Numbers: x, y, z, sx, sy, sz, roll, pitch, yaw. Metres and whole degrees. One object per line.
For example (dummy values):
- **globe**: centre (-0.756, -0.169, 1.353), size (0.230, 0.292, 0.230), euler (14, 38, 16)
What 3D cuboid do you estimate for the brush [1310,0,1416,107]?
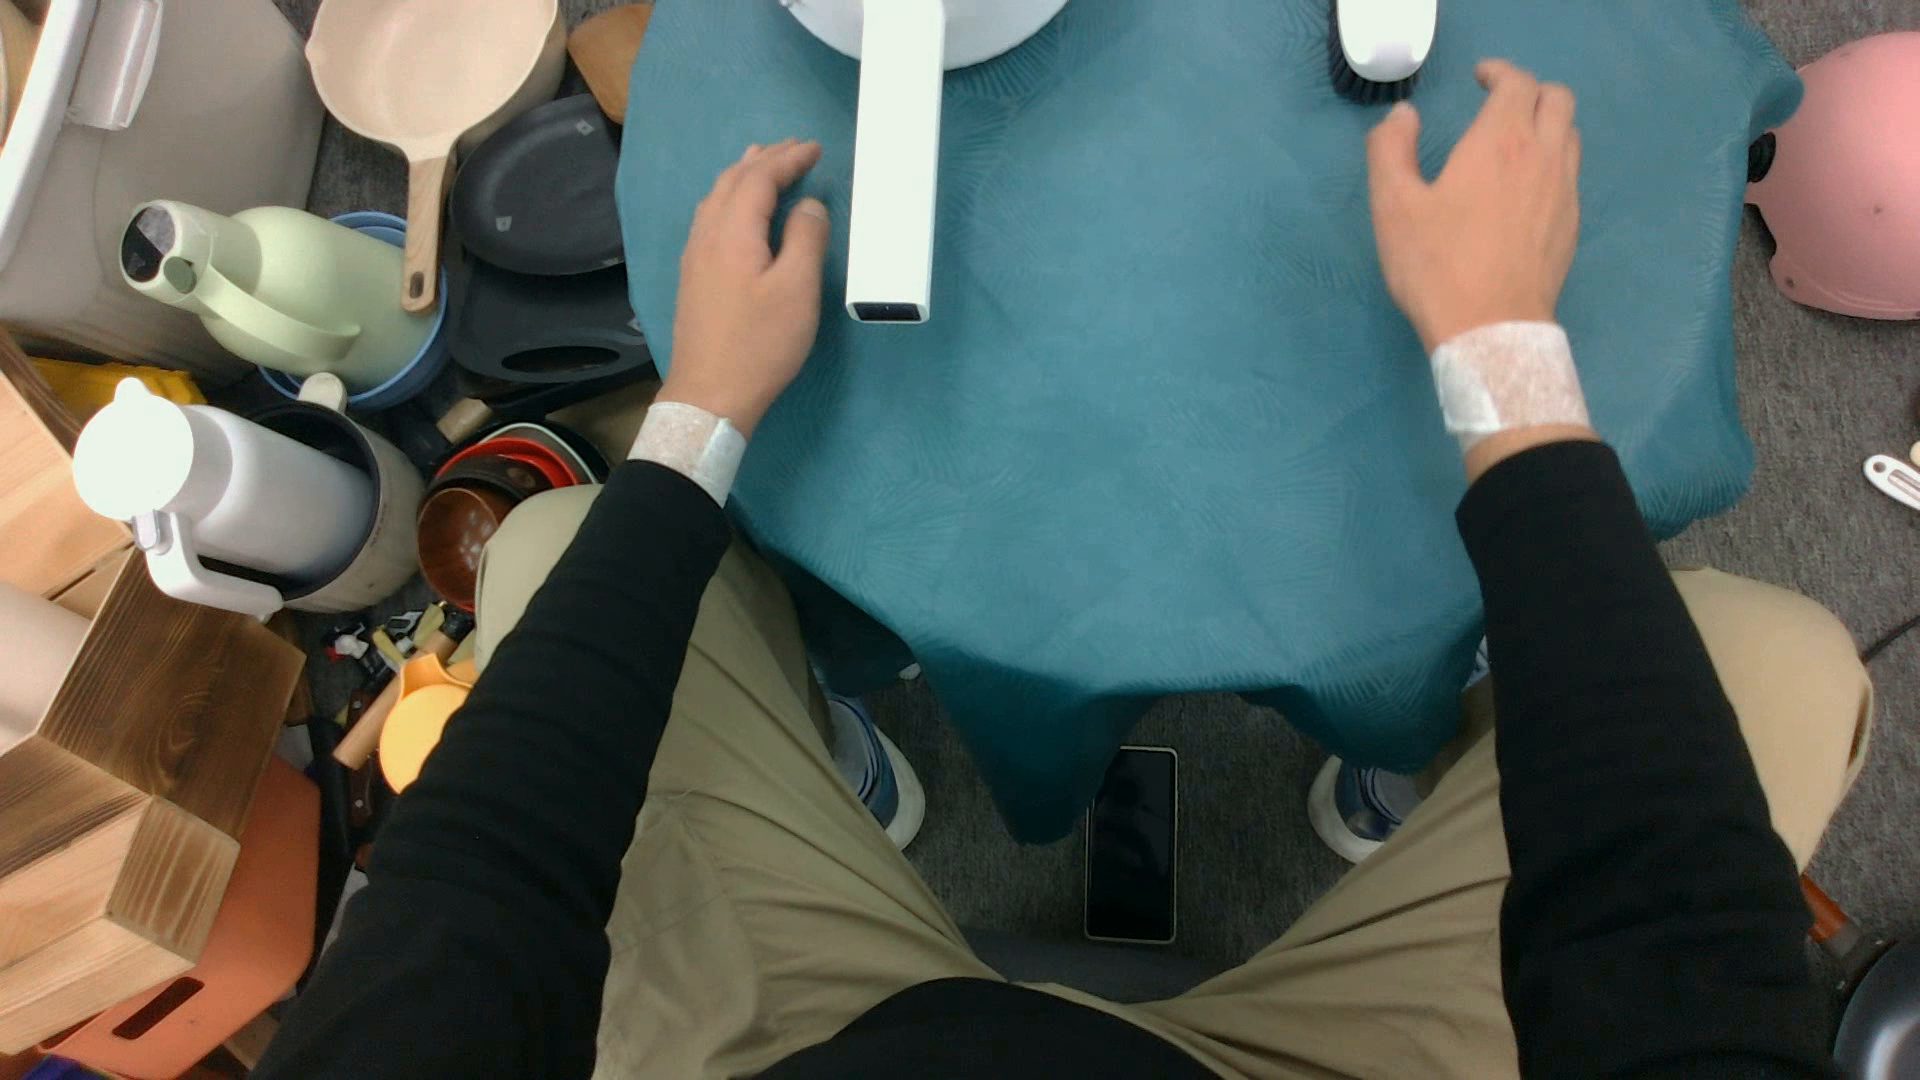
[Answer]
- **brush**: centre (0.213, -0.288, 0.718), size (0.050, 0.072, 0.099), euler (3, 79, 6)

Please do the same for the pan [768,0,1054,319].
- **pan**: centre (-0.031, -0.280, 0.727), size (0.201, 0.102, 0.355), euler (2, 80, 4)
